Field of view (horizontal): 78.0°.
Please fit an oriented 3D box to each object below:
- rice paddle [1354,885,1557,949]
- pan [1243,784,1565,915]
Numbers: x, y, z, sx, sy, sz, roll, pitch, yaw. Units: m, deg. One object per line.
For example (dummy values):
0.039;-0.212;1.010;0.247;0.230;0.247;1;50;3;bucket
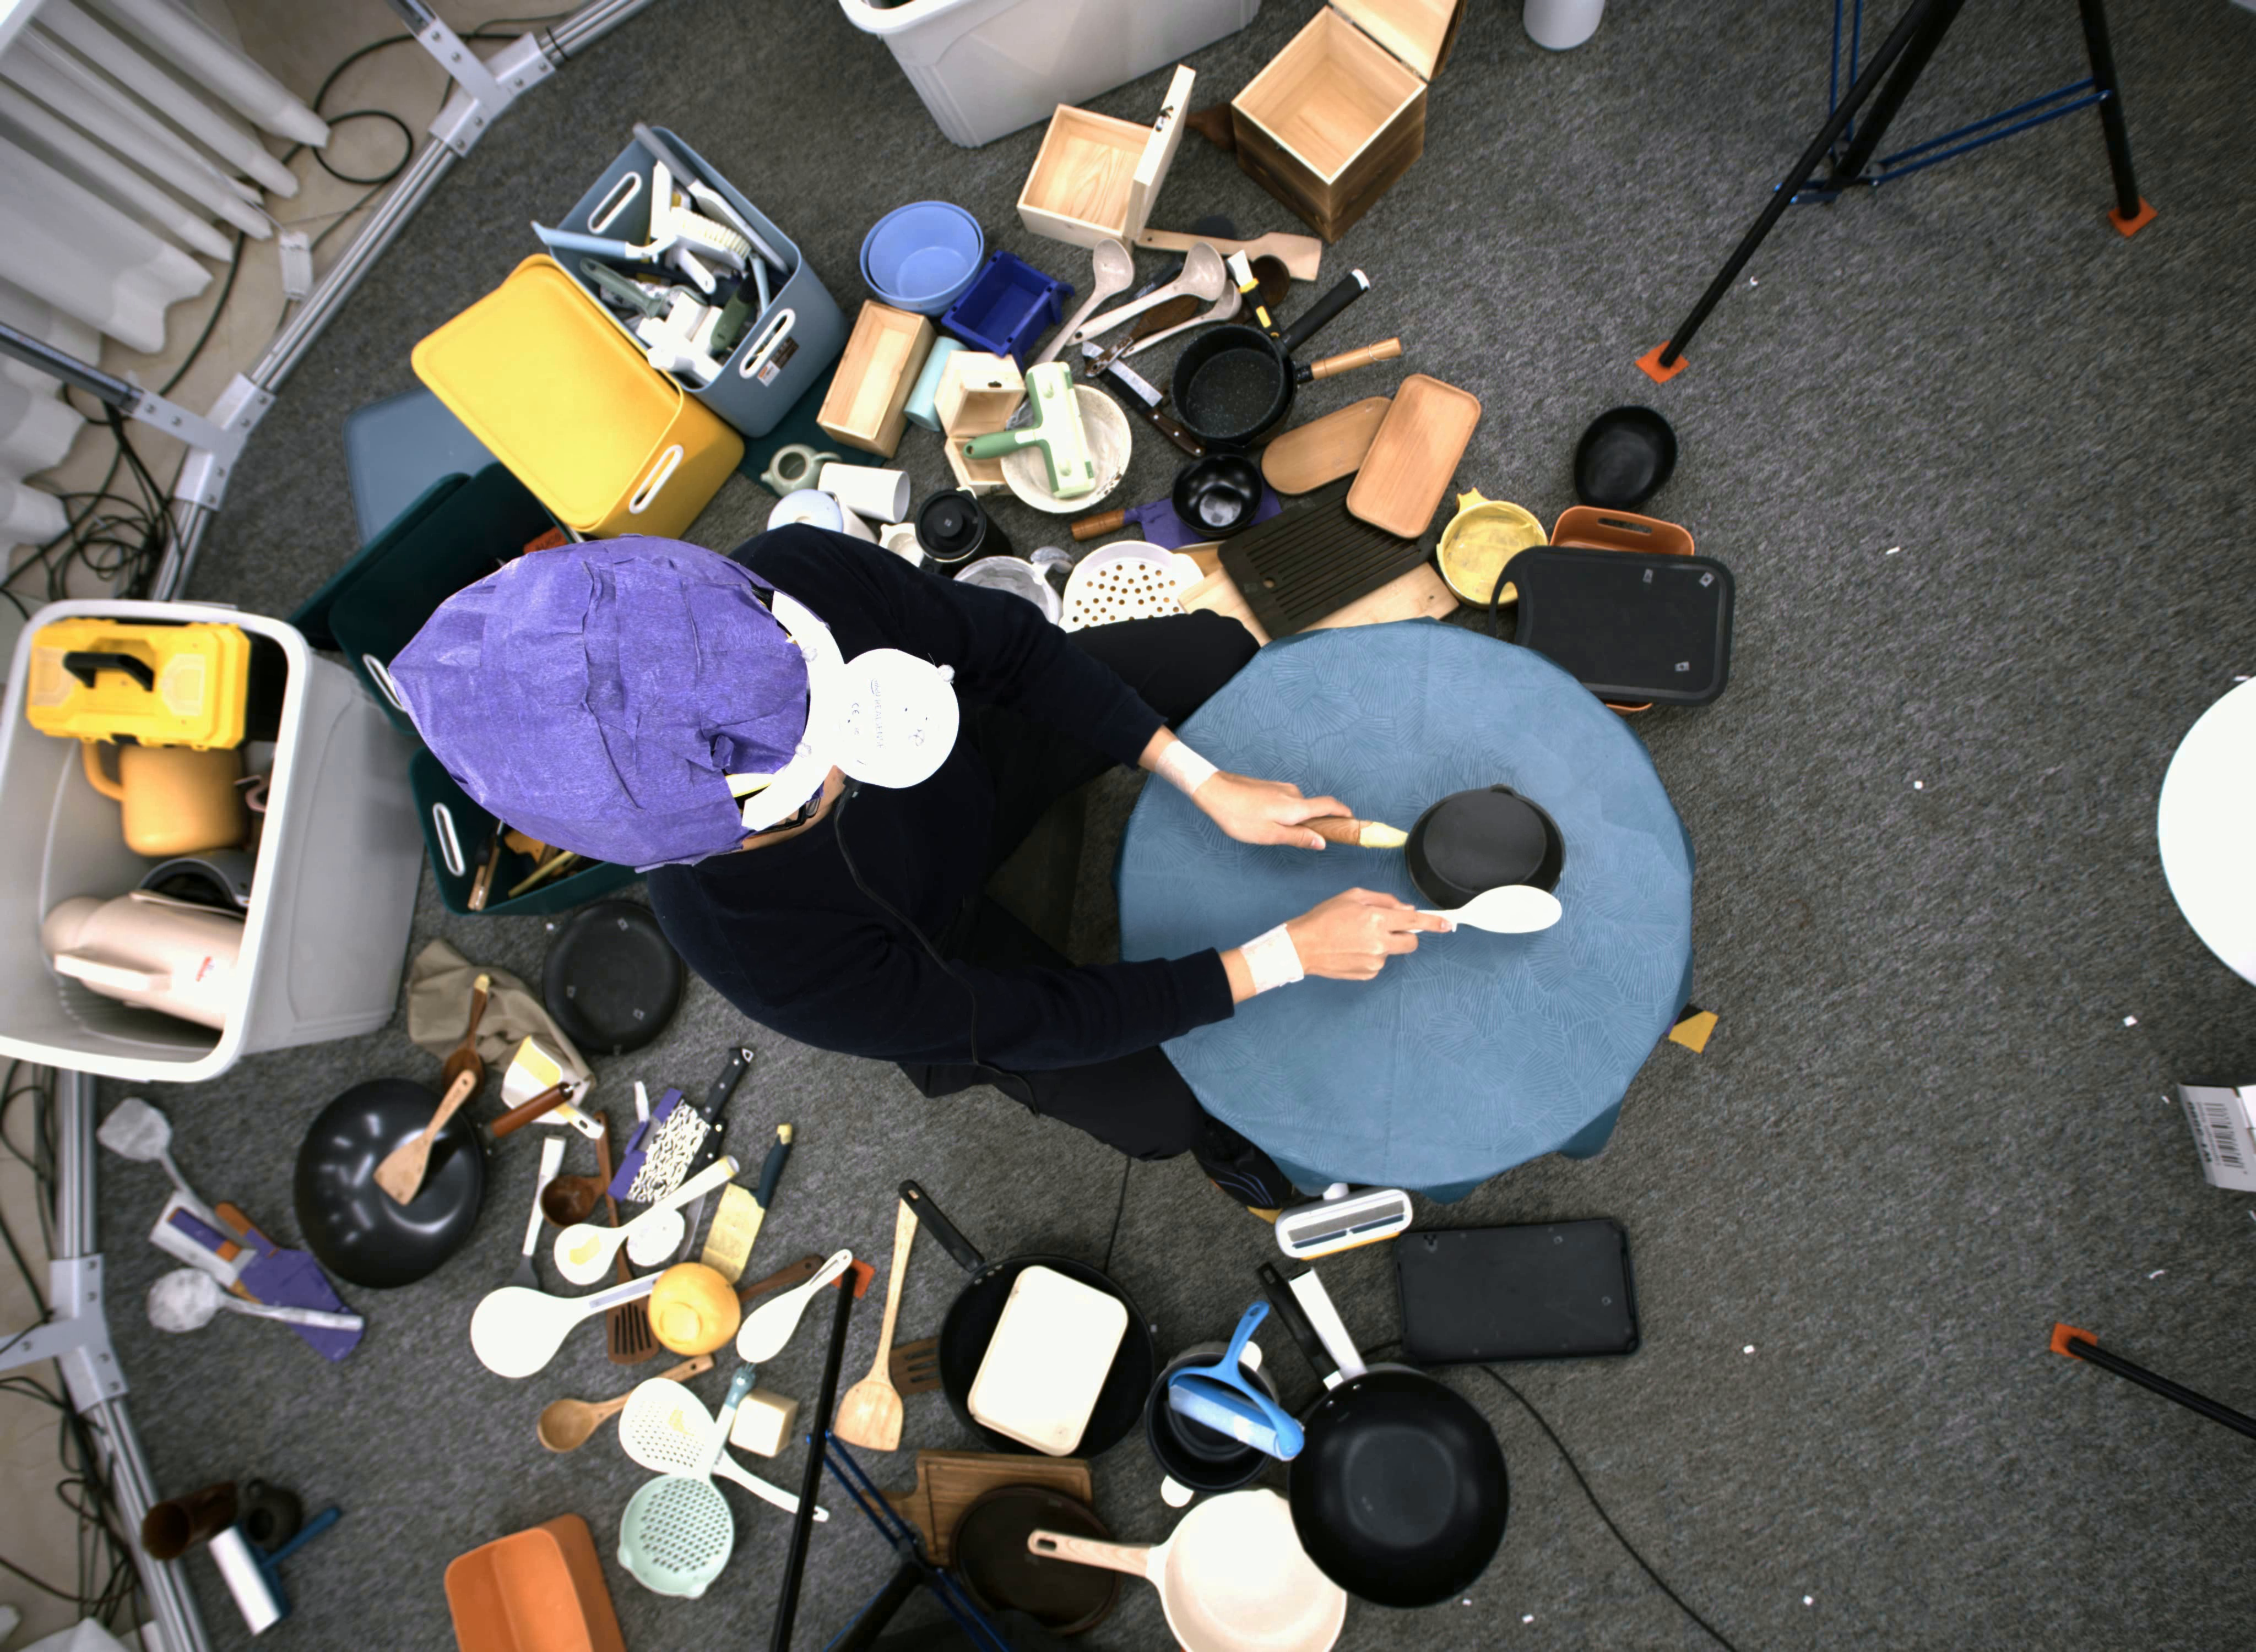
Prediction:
0.329;0.089;1.377;0.205;0.067;0.030;-9;130;0;rice paddle
0.278;0.009;1.398;0.324;0.048;0.173;11;124;5;pan
